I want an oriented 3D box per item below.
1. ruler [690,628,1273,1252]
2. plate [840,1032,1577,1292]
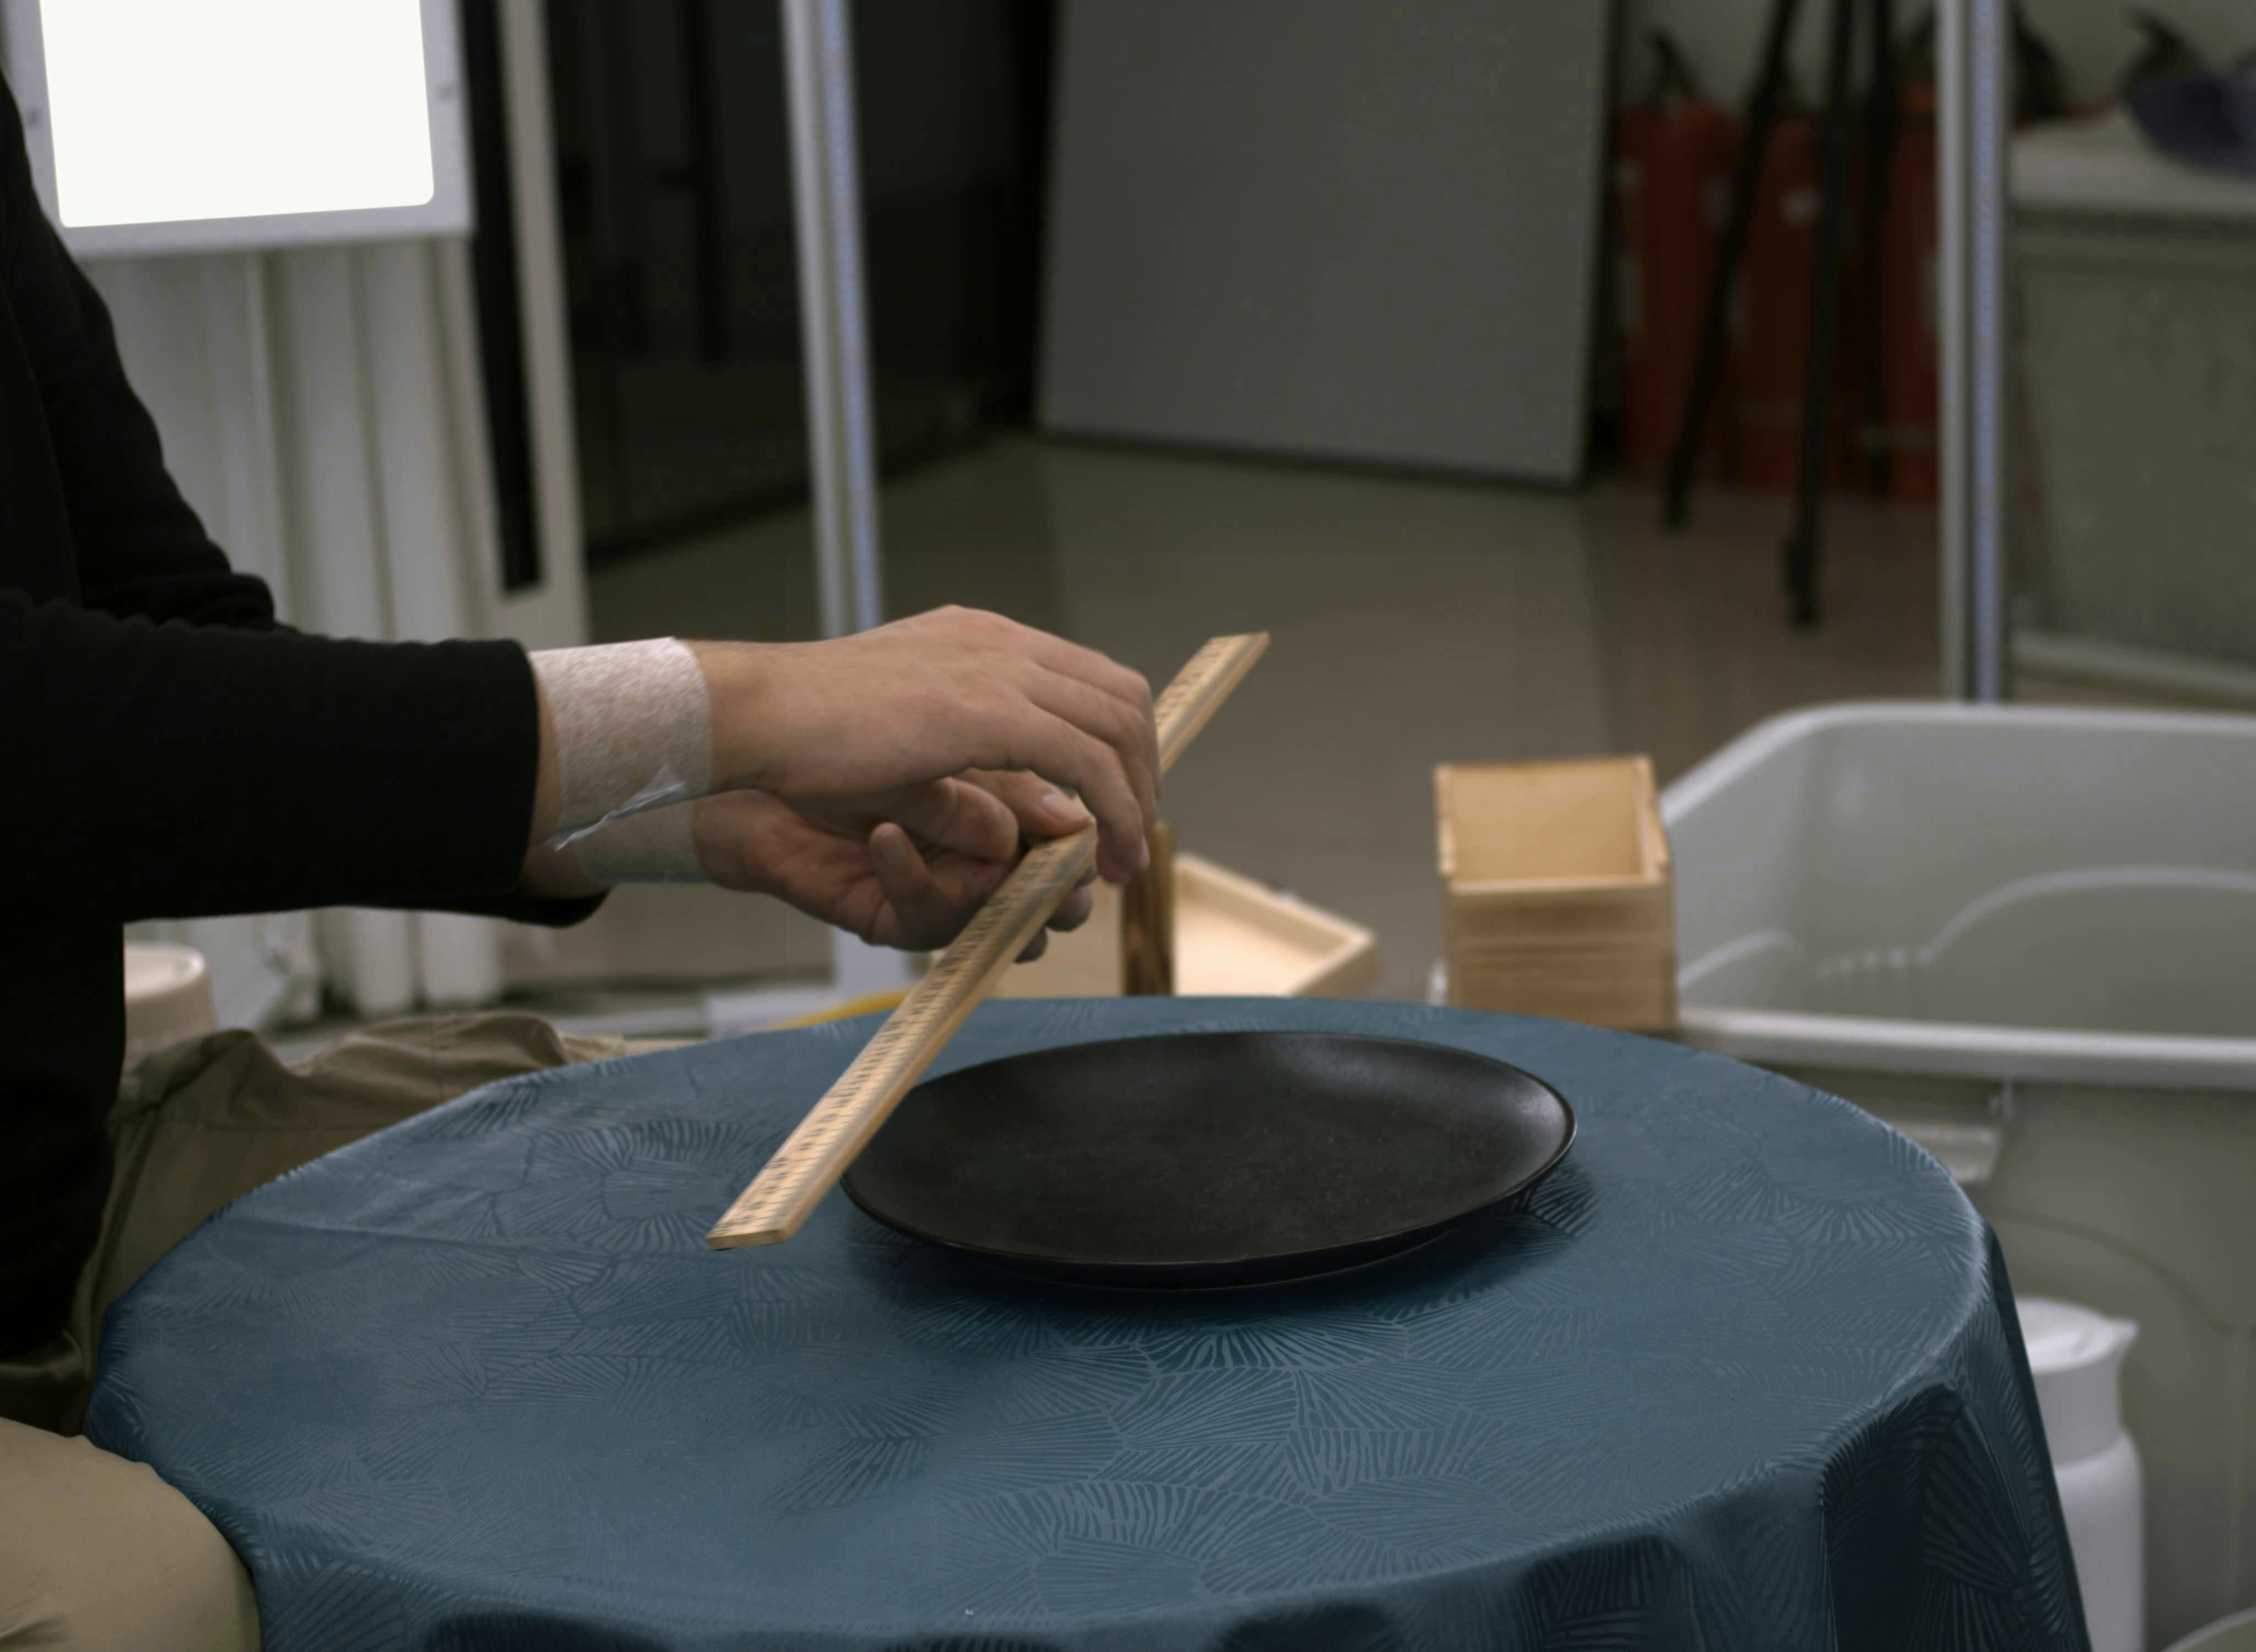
[{"bbox_3d":[-0.037,0.025,1.743,0.027,0.006,0.496,-12,18,24],"label":"ruler"},{"bbox_3d":[0.027,0.111,1.752,0.241,0.024,0.245,-4,14,0],"label":"plate"}]
